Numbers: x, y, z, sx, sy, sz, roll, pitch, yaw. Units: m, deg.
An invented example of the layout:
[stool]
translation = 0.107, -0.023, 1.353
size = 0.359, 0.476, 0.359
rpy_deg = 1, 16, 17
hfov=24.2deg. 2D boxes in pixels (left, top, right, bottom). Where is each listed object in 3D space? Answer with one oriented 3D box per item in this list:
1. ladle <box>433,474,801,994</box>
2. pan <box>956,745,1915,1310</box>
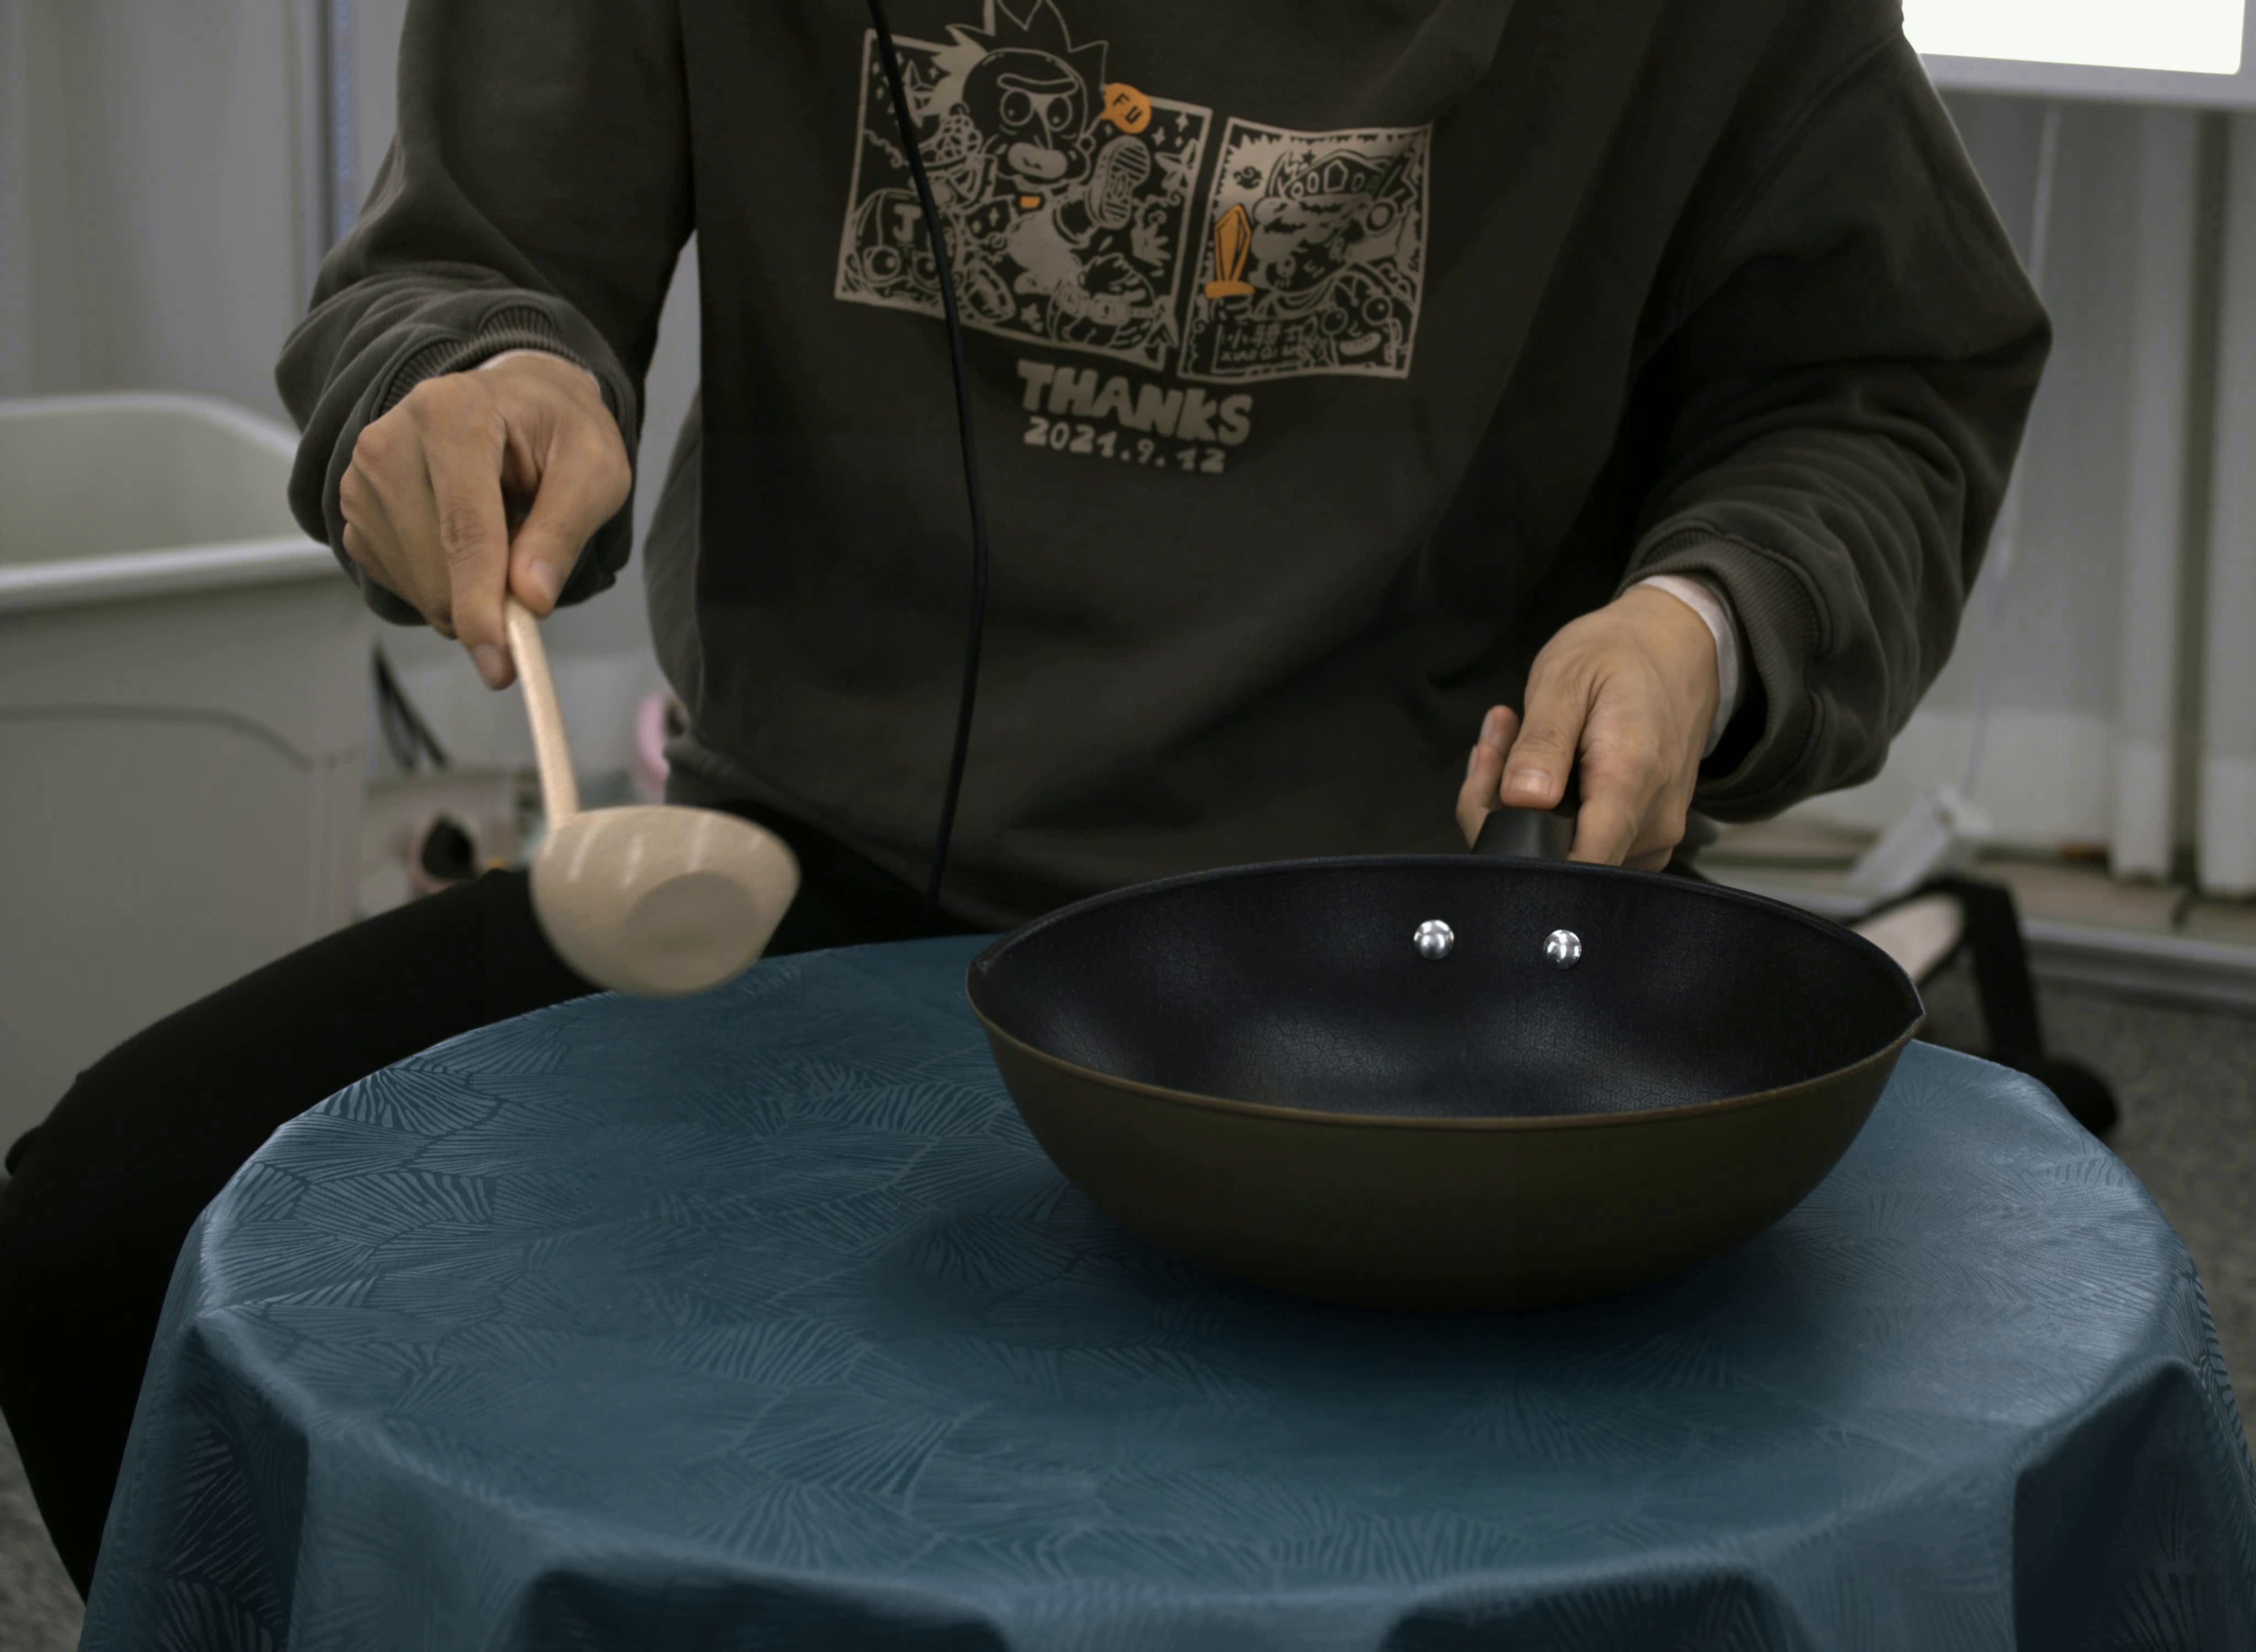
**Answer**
[ladle]
translation = -0.154, -0.051, 1.516
size = 0.073, 0.073, 0.251
rpy_deg = 19, 32, -34
[pan]
translation = 0.109, 0.061, 1.668
size = 0.286, 0.087, 0.463
rpy_deg = 3, 14, 11
